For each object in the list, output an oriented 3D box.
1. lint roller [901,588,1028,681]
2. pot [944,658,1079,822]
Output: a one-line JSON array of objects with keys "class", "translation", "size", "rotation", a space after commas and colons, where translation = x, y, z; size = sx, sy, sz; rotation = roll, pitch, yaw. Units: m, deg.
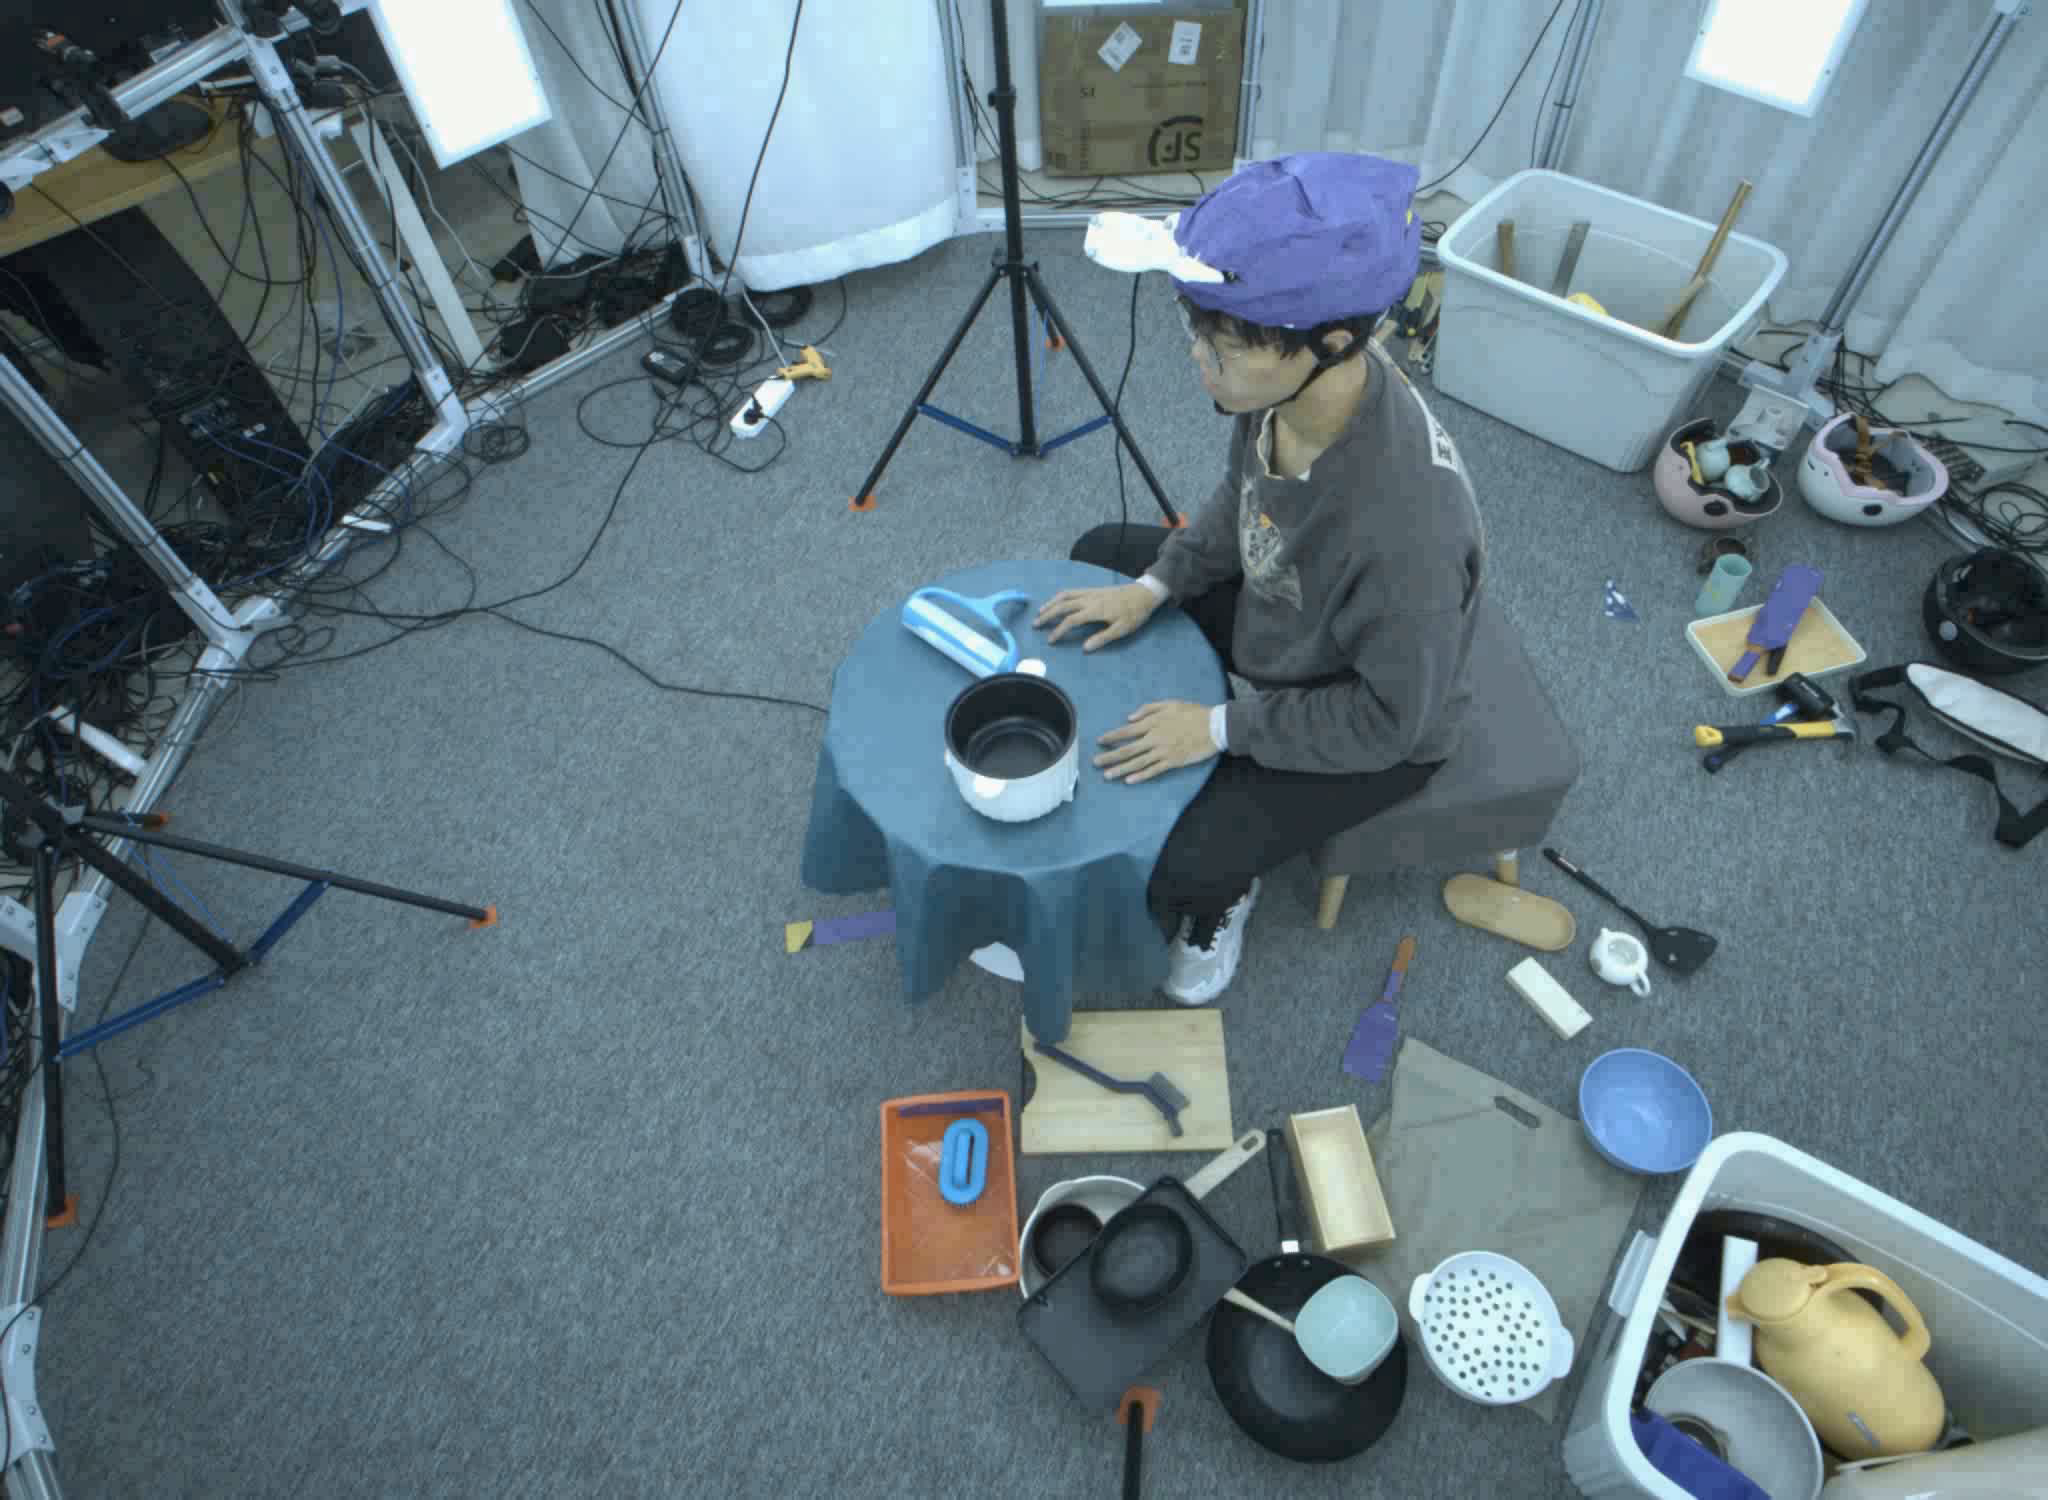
[{"class": "lint roller", "translation": [-0.064, -0.205, 1.899], "size": [0.225, 0.069, 0.181], "rotation": [32, 63, 24]}, {"class": "pot", "translation": [-0.020, 0.003, 1.697], "size": [0.189, 0.144, 0.239], "rotation": [13, 54, 8]}]
